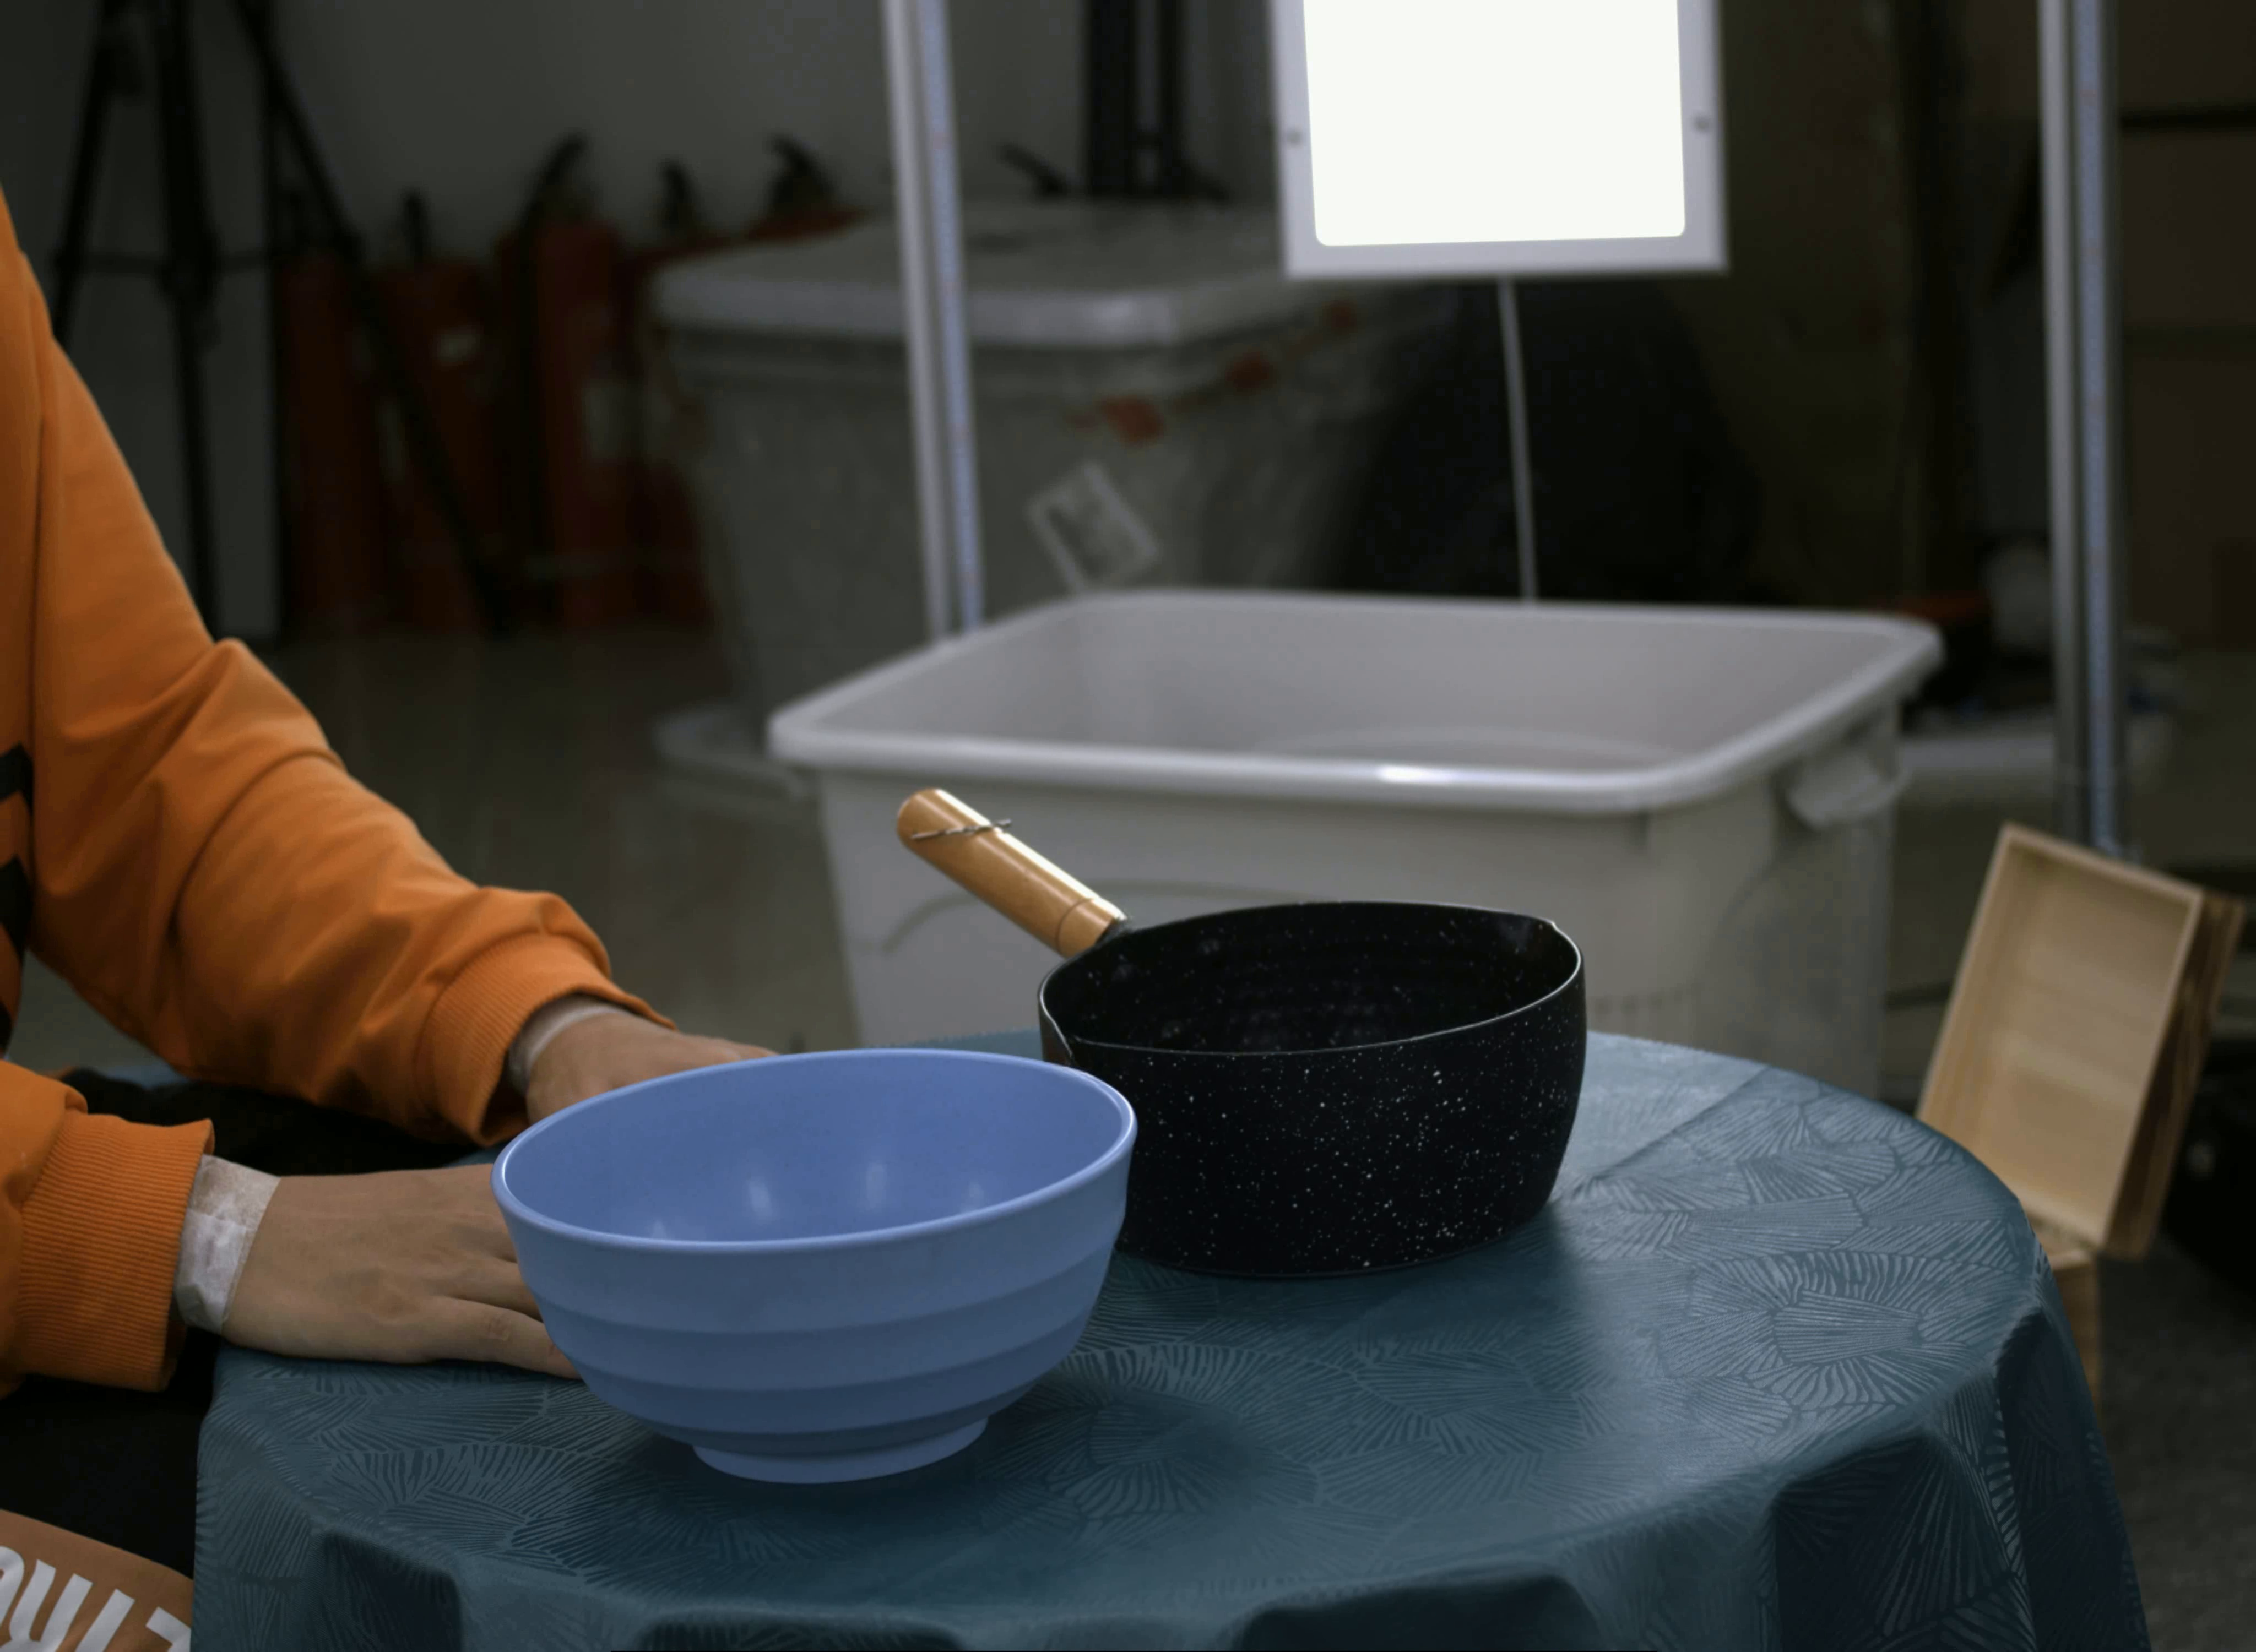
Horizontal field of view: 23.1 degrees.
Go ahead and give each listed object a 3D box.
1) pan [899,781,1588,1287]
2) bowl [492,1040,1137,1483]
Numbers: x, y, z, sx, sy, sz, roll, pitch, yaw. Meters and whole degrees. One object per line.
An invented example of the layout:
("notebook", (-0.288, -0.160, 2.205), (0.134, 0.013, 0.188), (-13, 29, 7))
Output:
("pan", (0.018, 0.066, 1.911), (0.202, 0.108, 0.349), (-15, 18, -31))
("bowl", (-0.091, 0.139, 1.678), (0.196, 0.096, 0.196), (-5, 15, 0))
